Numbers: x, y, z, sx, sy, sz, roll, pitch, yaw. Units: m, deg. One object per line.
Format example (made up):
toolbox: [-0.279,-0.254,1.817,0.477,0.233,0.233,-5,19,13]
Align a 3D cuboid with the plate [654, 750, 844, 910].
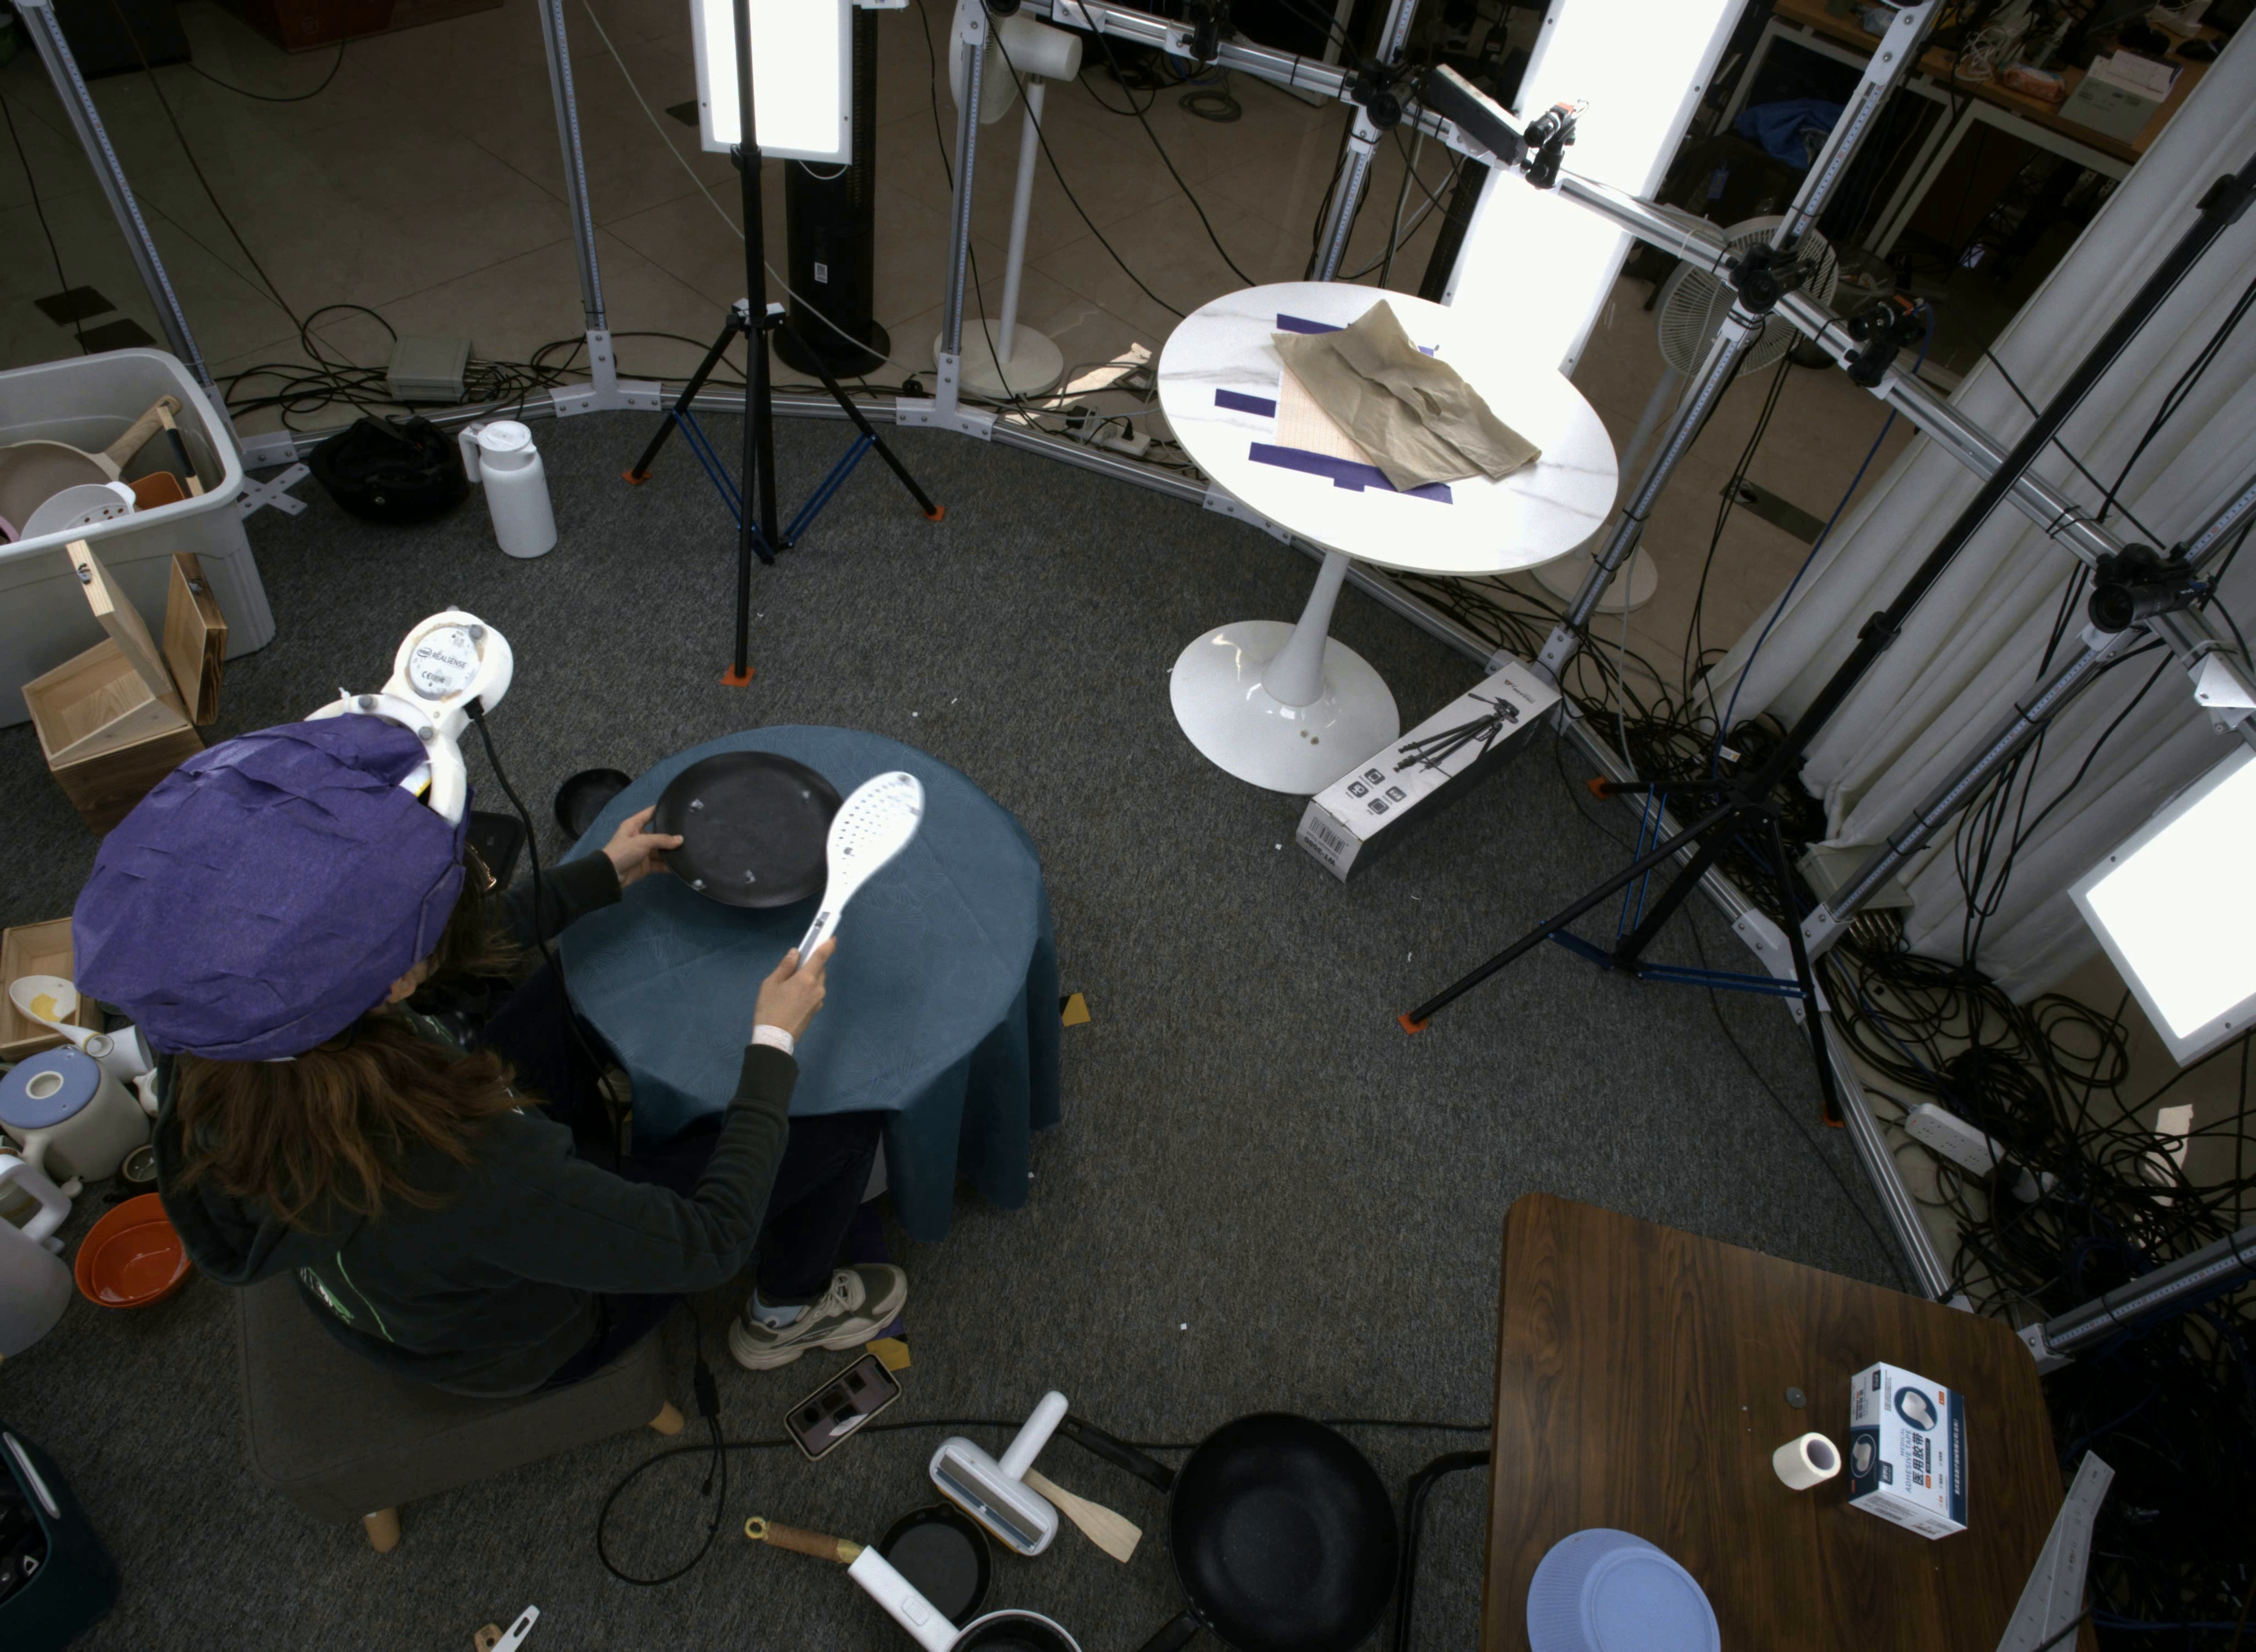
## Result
plate: [-0.473,0.005,1.633,0.245,0.024,0.240,12,52,-14]

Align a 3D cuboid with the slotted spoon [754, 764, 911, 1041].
slotted spoon: [-0.340,0.081,1.484,0.131,0.047,0.348,1,55,40]
